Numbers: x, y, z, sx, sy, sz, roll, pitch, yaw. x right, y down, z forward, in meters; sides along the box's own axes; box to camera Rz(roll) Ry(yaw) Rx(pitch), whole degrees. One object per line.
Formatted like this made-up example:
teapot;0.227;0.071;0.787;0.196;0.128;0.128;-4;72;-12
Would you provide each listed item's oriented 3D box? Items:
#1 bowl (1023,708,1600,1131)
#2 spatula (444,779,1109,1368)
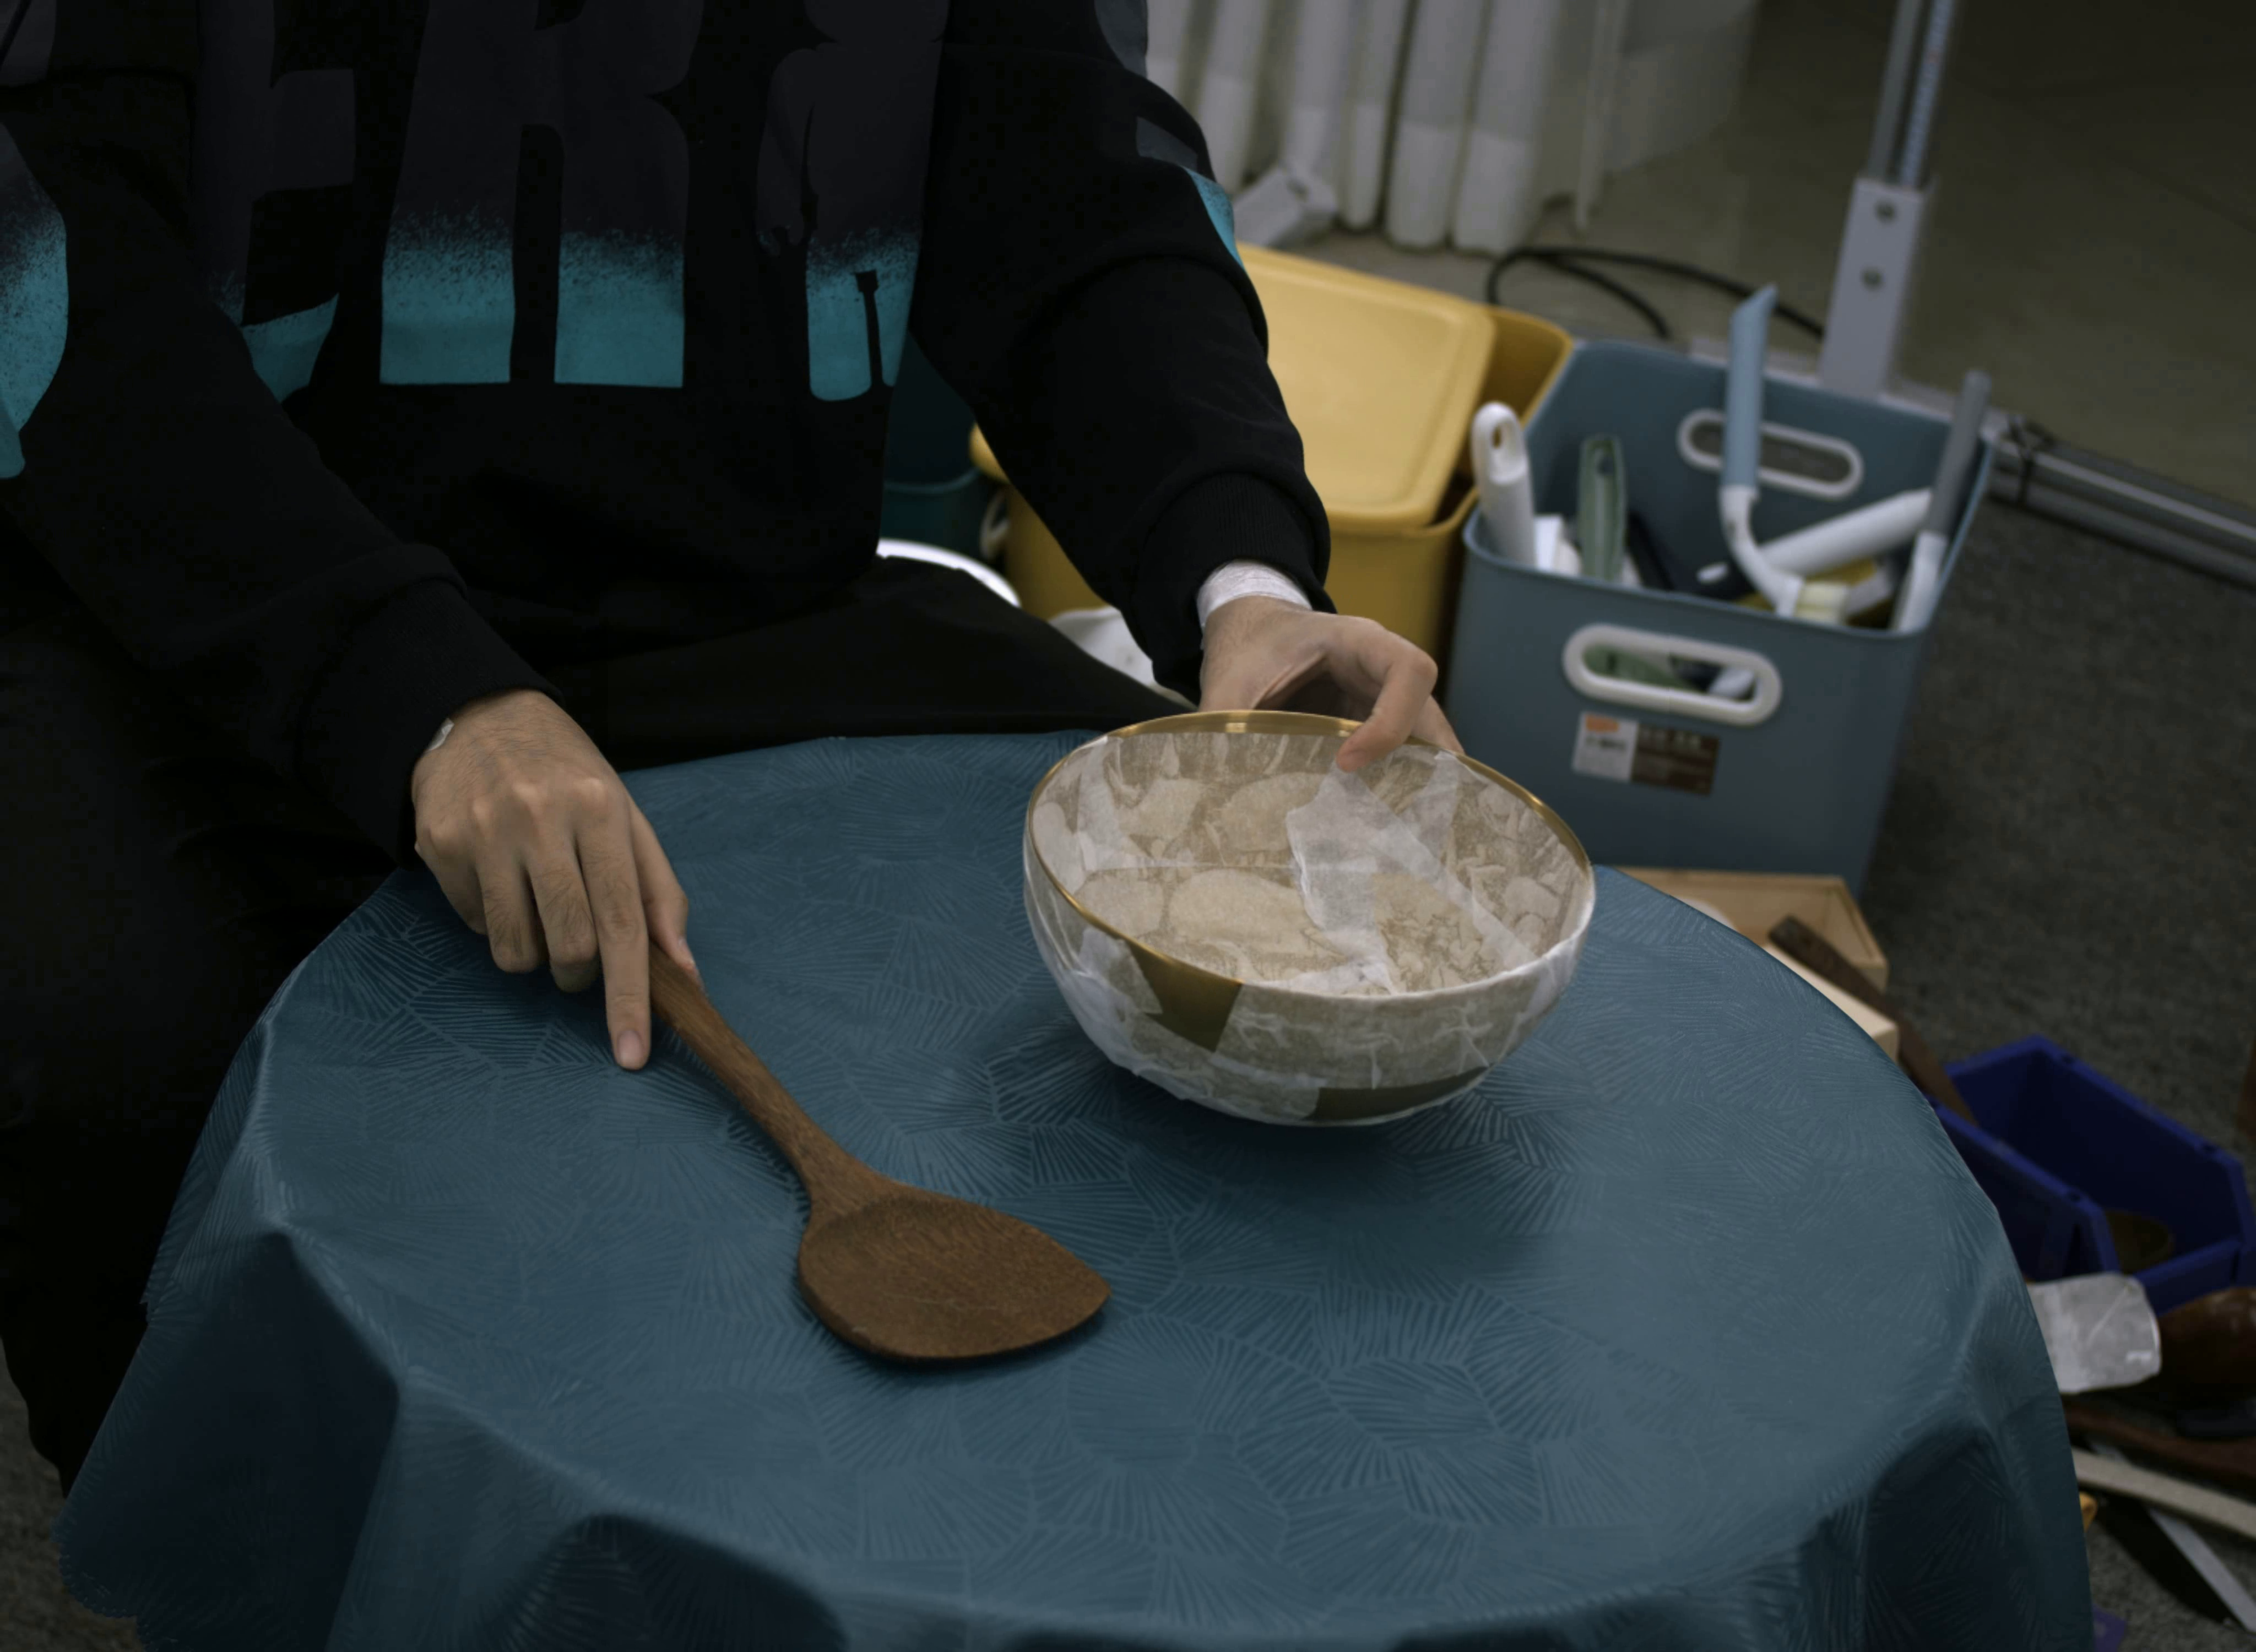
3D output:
bowl;0.060;0.044;1.867;0.214;0.094;0.216;4;28;-2
spatula;-0.141;0.076;1.829;0.095;0.016;0.389;-11;36;-32
